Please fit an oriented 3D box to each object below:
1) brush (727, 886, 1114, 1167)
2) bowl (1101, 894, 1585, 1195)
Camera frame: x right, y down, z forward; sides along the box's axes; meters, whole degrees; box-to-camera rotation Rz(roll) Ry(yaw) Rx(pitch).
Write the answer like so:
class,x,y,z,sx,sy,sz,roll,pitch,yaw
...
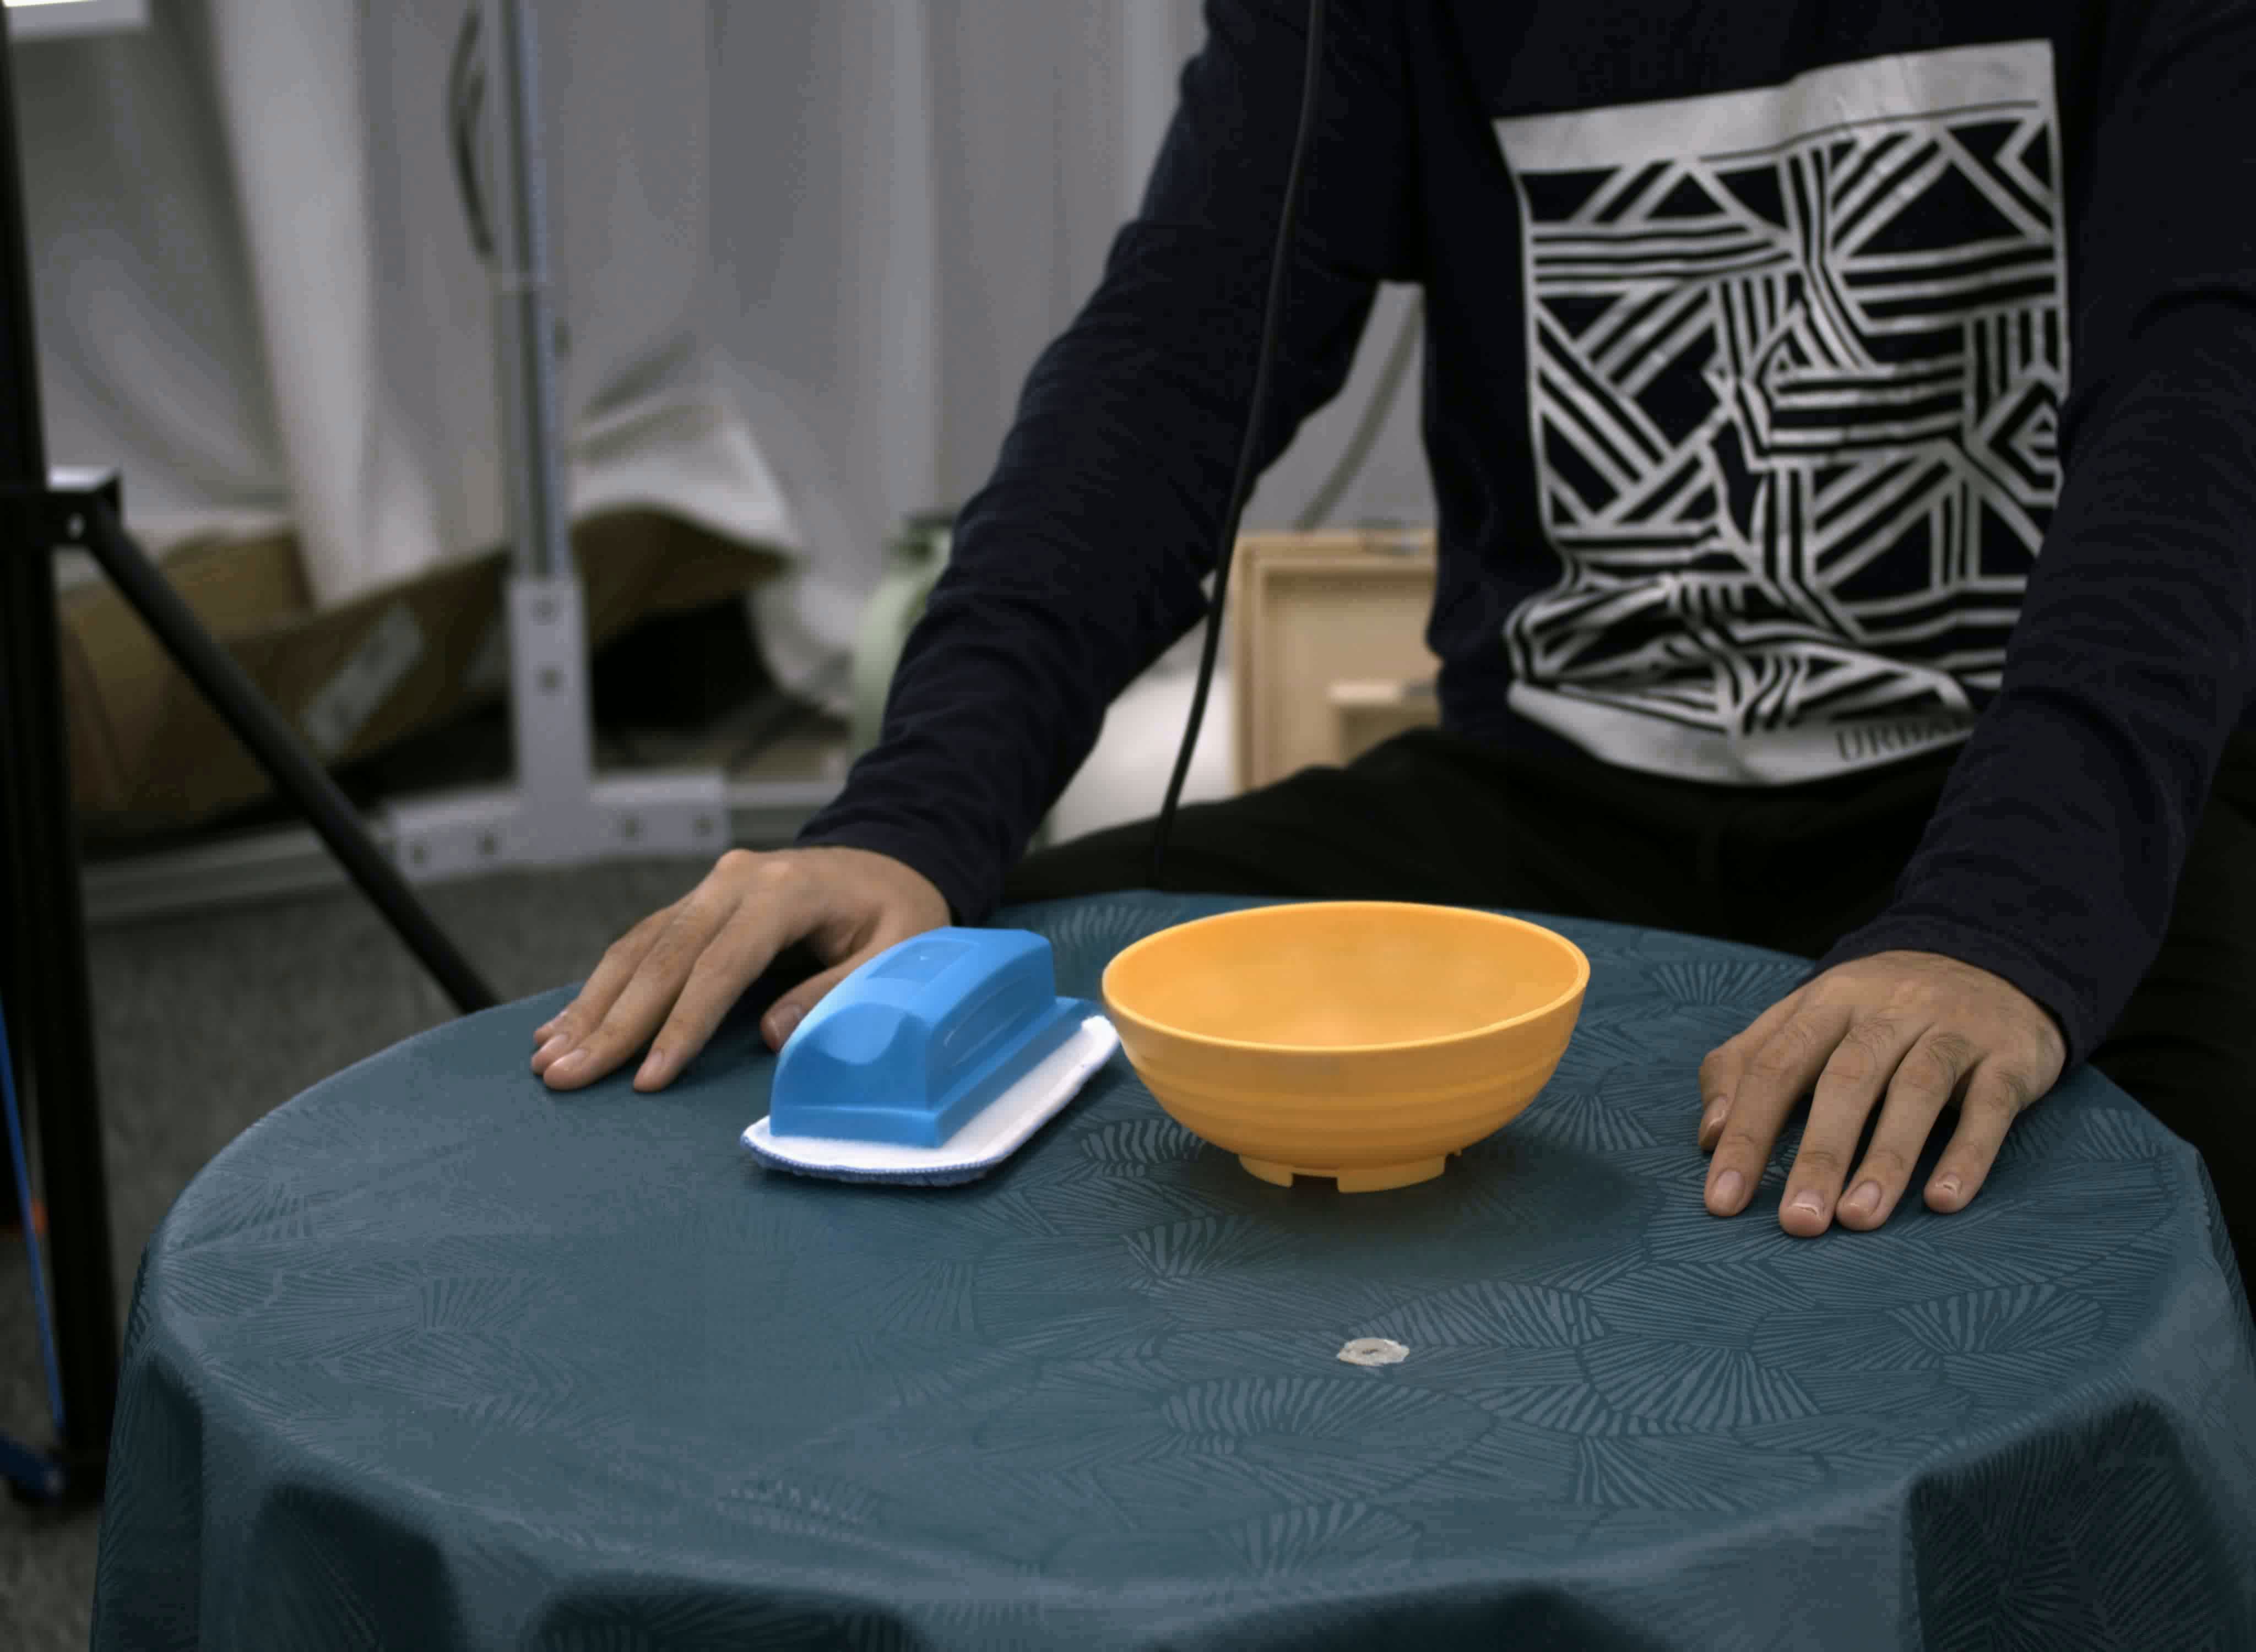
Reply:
class,x,y,z,sx,sy,sz,roll,pitch,yaw
brush,-0.061,0.058,1.634,0.085,0.056,0.142,8,21,21
bowl,0.065,0.071,1.577,0.144,0.060,0.146,-3,18,0
